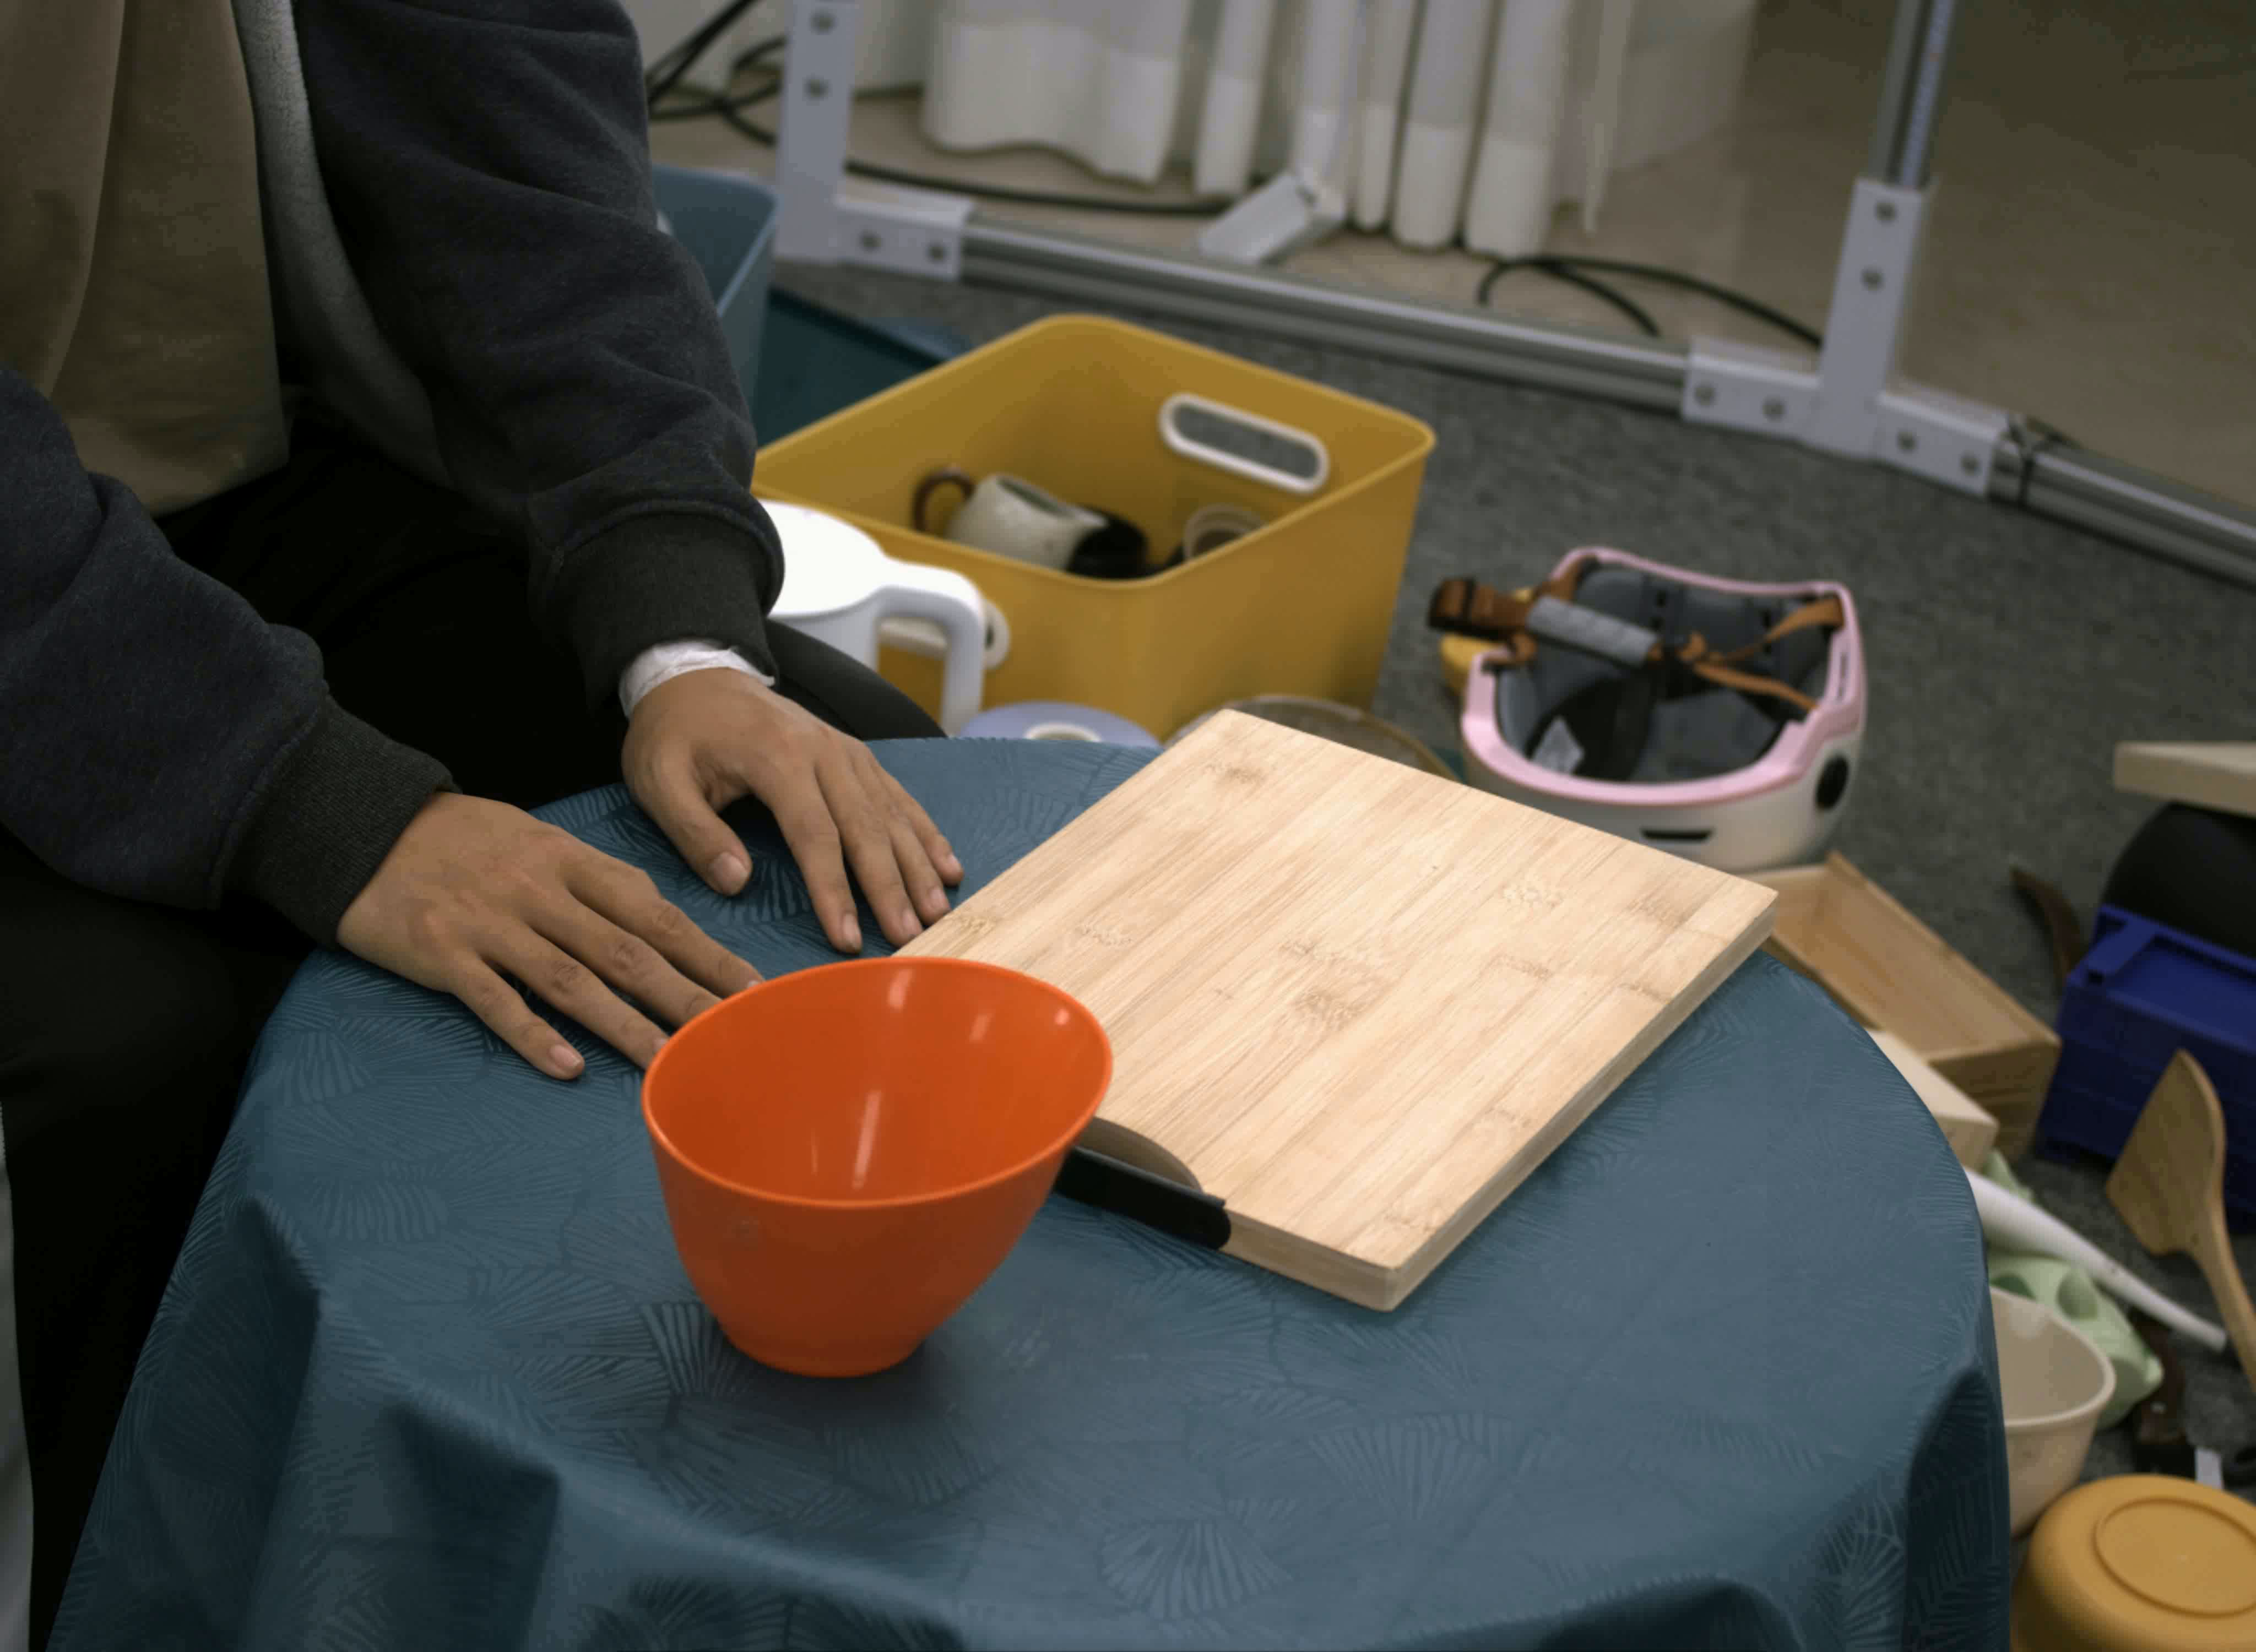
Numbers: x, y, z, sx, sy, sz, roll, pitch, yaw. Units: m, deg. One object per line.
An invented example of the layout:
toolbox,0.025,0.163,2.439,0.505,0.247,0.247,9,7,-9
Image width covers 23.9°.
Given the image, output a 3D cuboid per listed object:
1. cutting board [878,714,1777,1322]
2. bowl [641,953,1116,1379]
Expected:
cutting board,0.058,0.060,1.922,0.252,0.023,0.348,18,29,23
bowl,-0.083,0.115,1.687,0.147,0.104,0.149,6,29,-4
